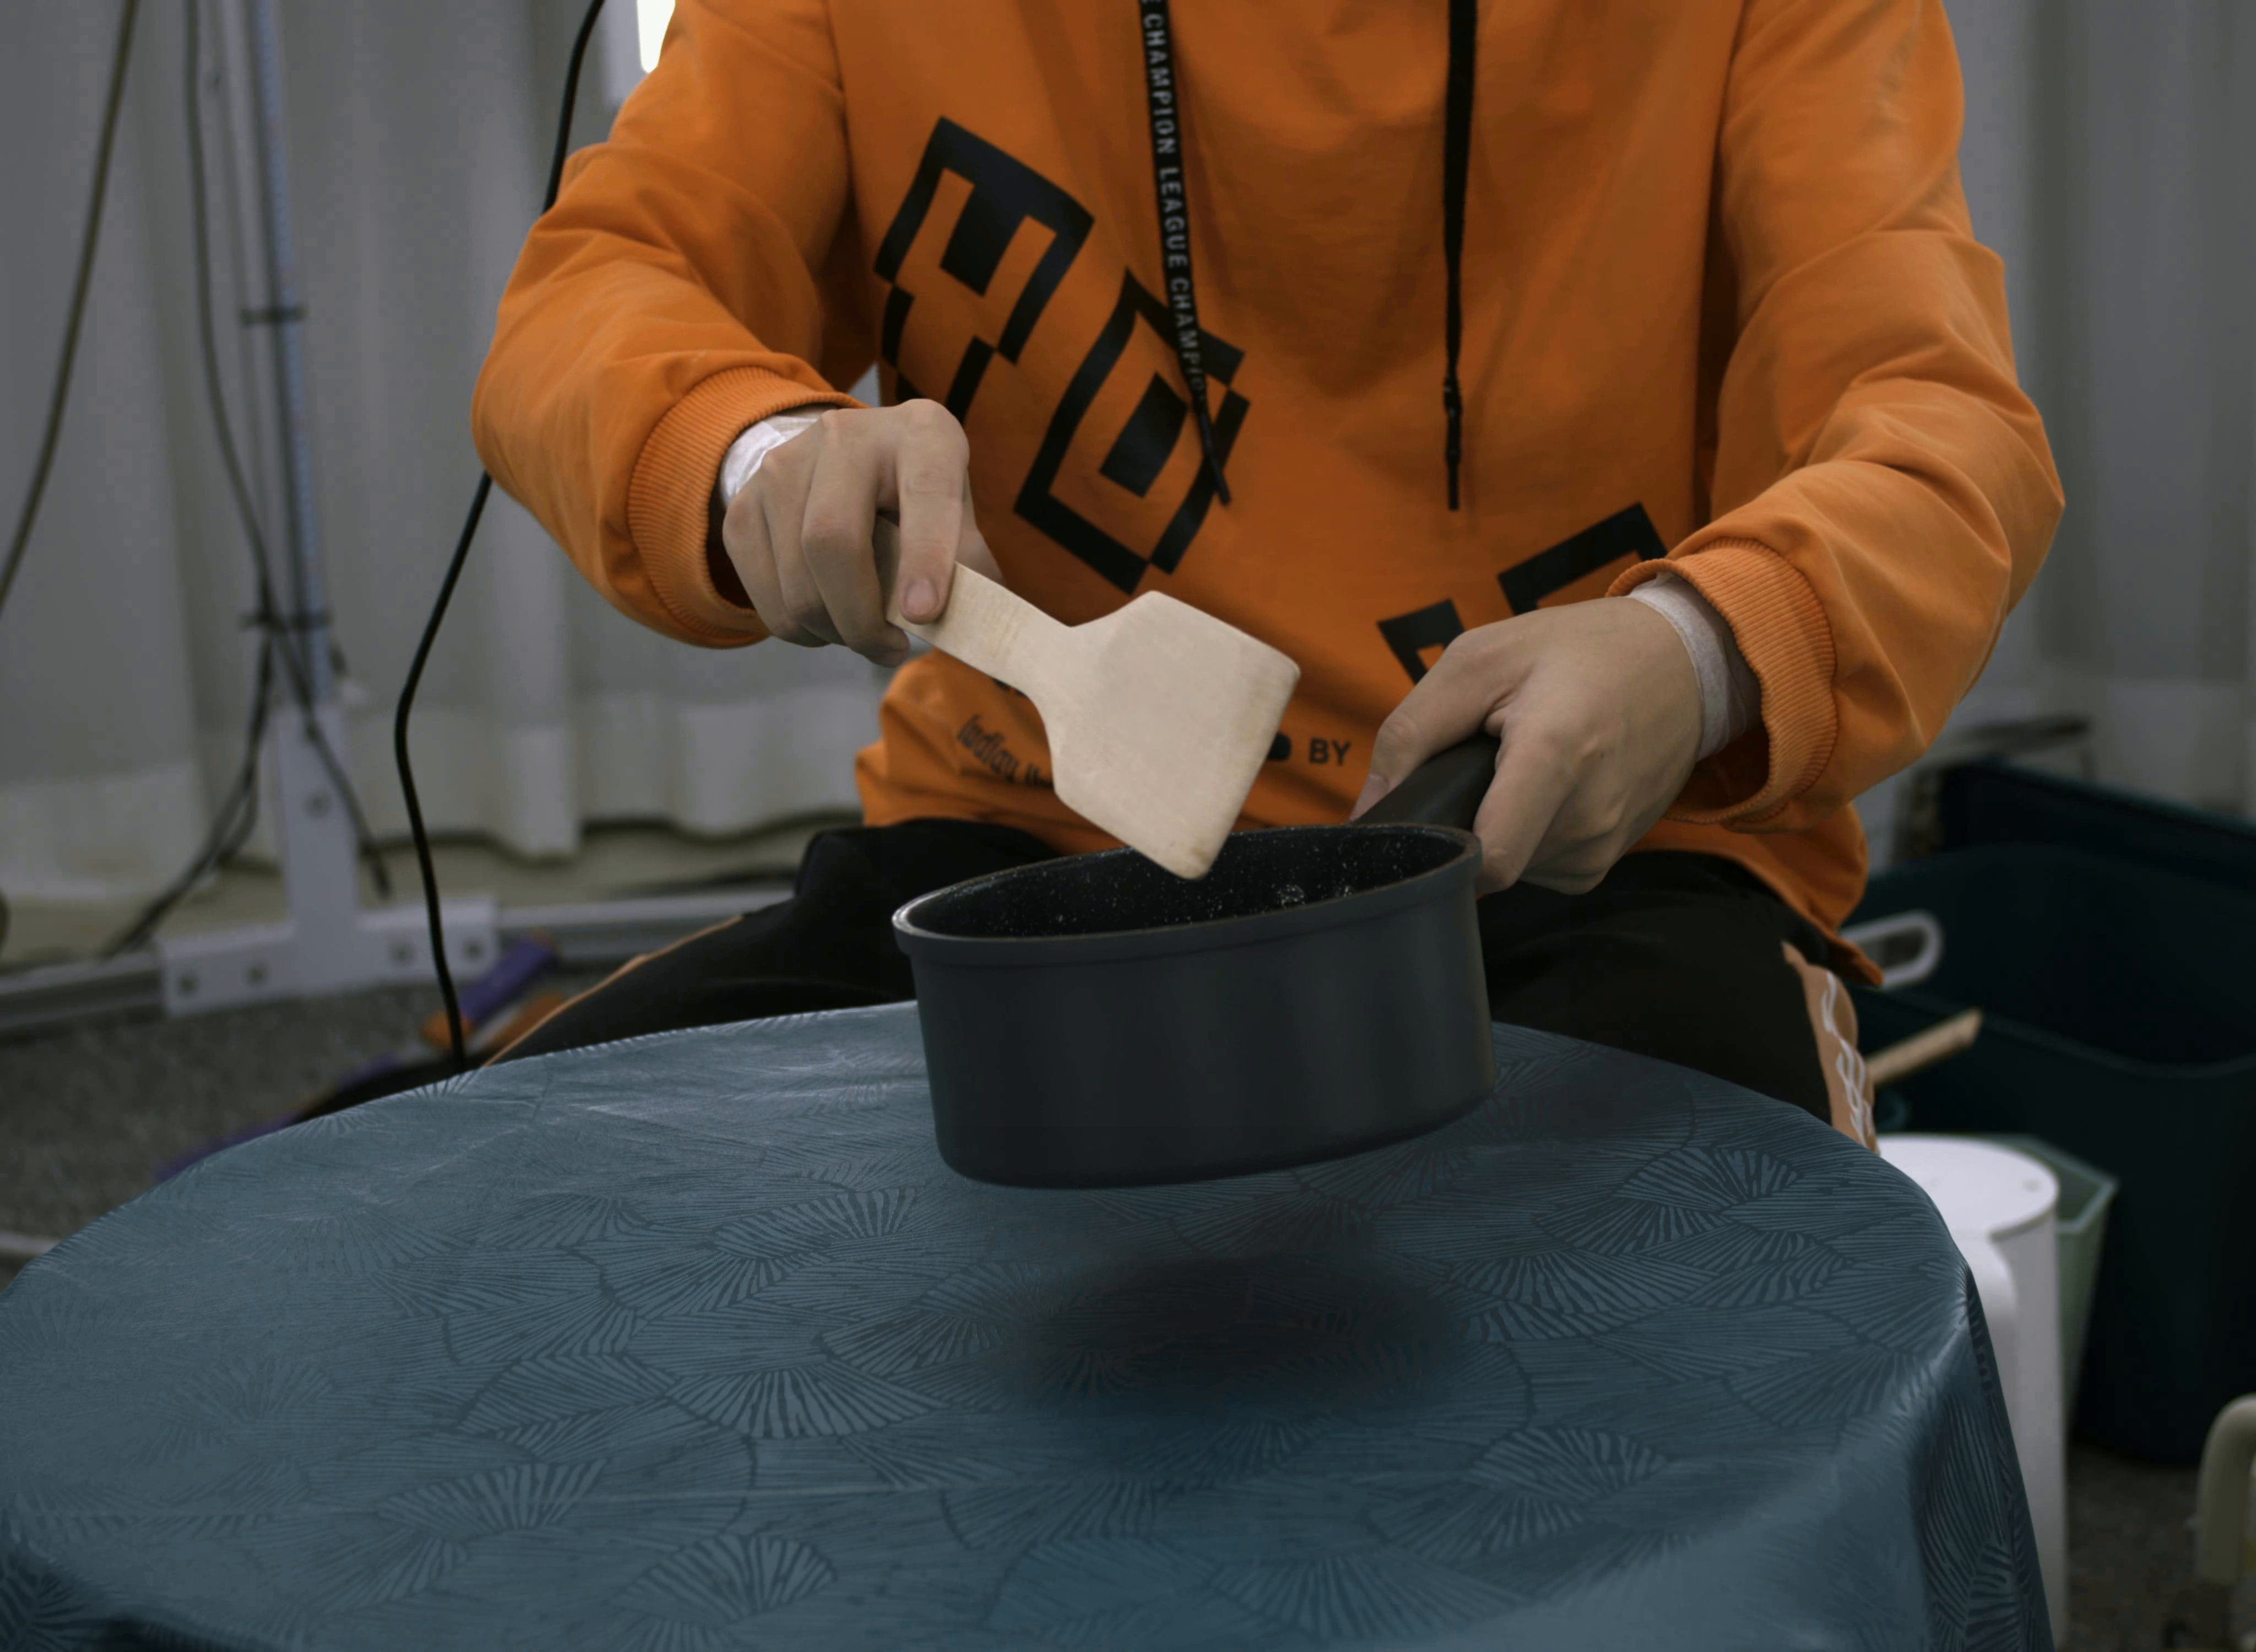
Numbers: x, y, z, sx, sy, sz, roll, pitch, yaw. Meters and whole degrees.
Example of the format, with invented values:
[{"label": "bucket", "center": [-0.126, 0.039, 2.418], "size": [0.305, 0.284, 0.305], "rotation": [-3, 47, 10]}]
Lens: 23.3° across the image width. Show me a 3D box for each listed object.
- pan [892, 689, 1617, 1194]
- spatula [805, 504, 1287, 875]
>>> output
[{"label": "pan", "center": [0.062, 0.033, 1.639], "size": [0.172, 0.086, 0.329], "rotation": [-2, 11, 32]}, {"label": "spatula", "center": [-0.035, -0.057, 1.658], "size": [0.010, 0.072, 0.295], "rotation": [21, 5, -31]}]
